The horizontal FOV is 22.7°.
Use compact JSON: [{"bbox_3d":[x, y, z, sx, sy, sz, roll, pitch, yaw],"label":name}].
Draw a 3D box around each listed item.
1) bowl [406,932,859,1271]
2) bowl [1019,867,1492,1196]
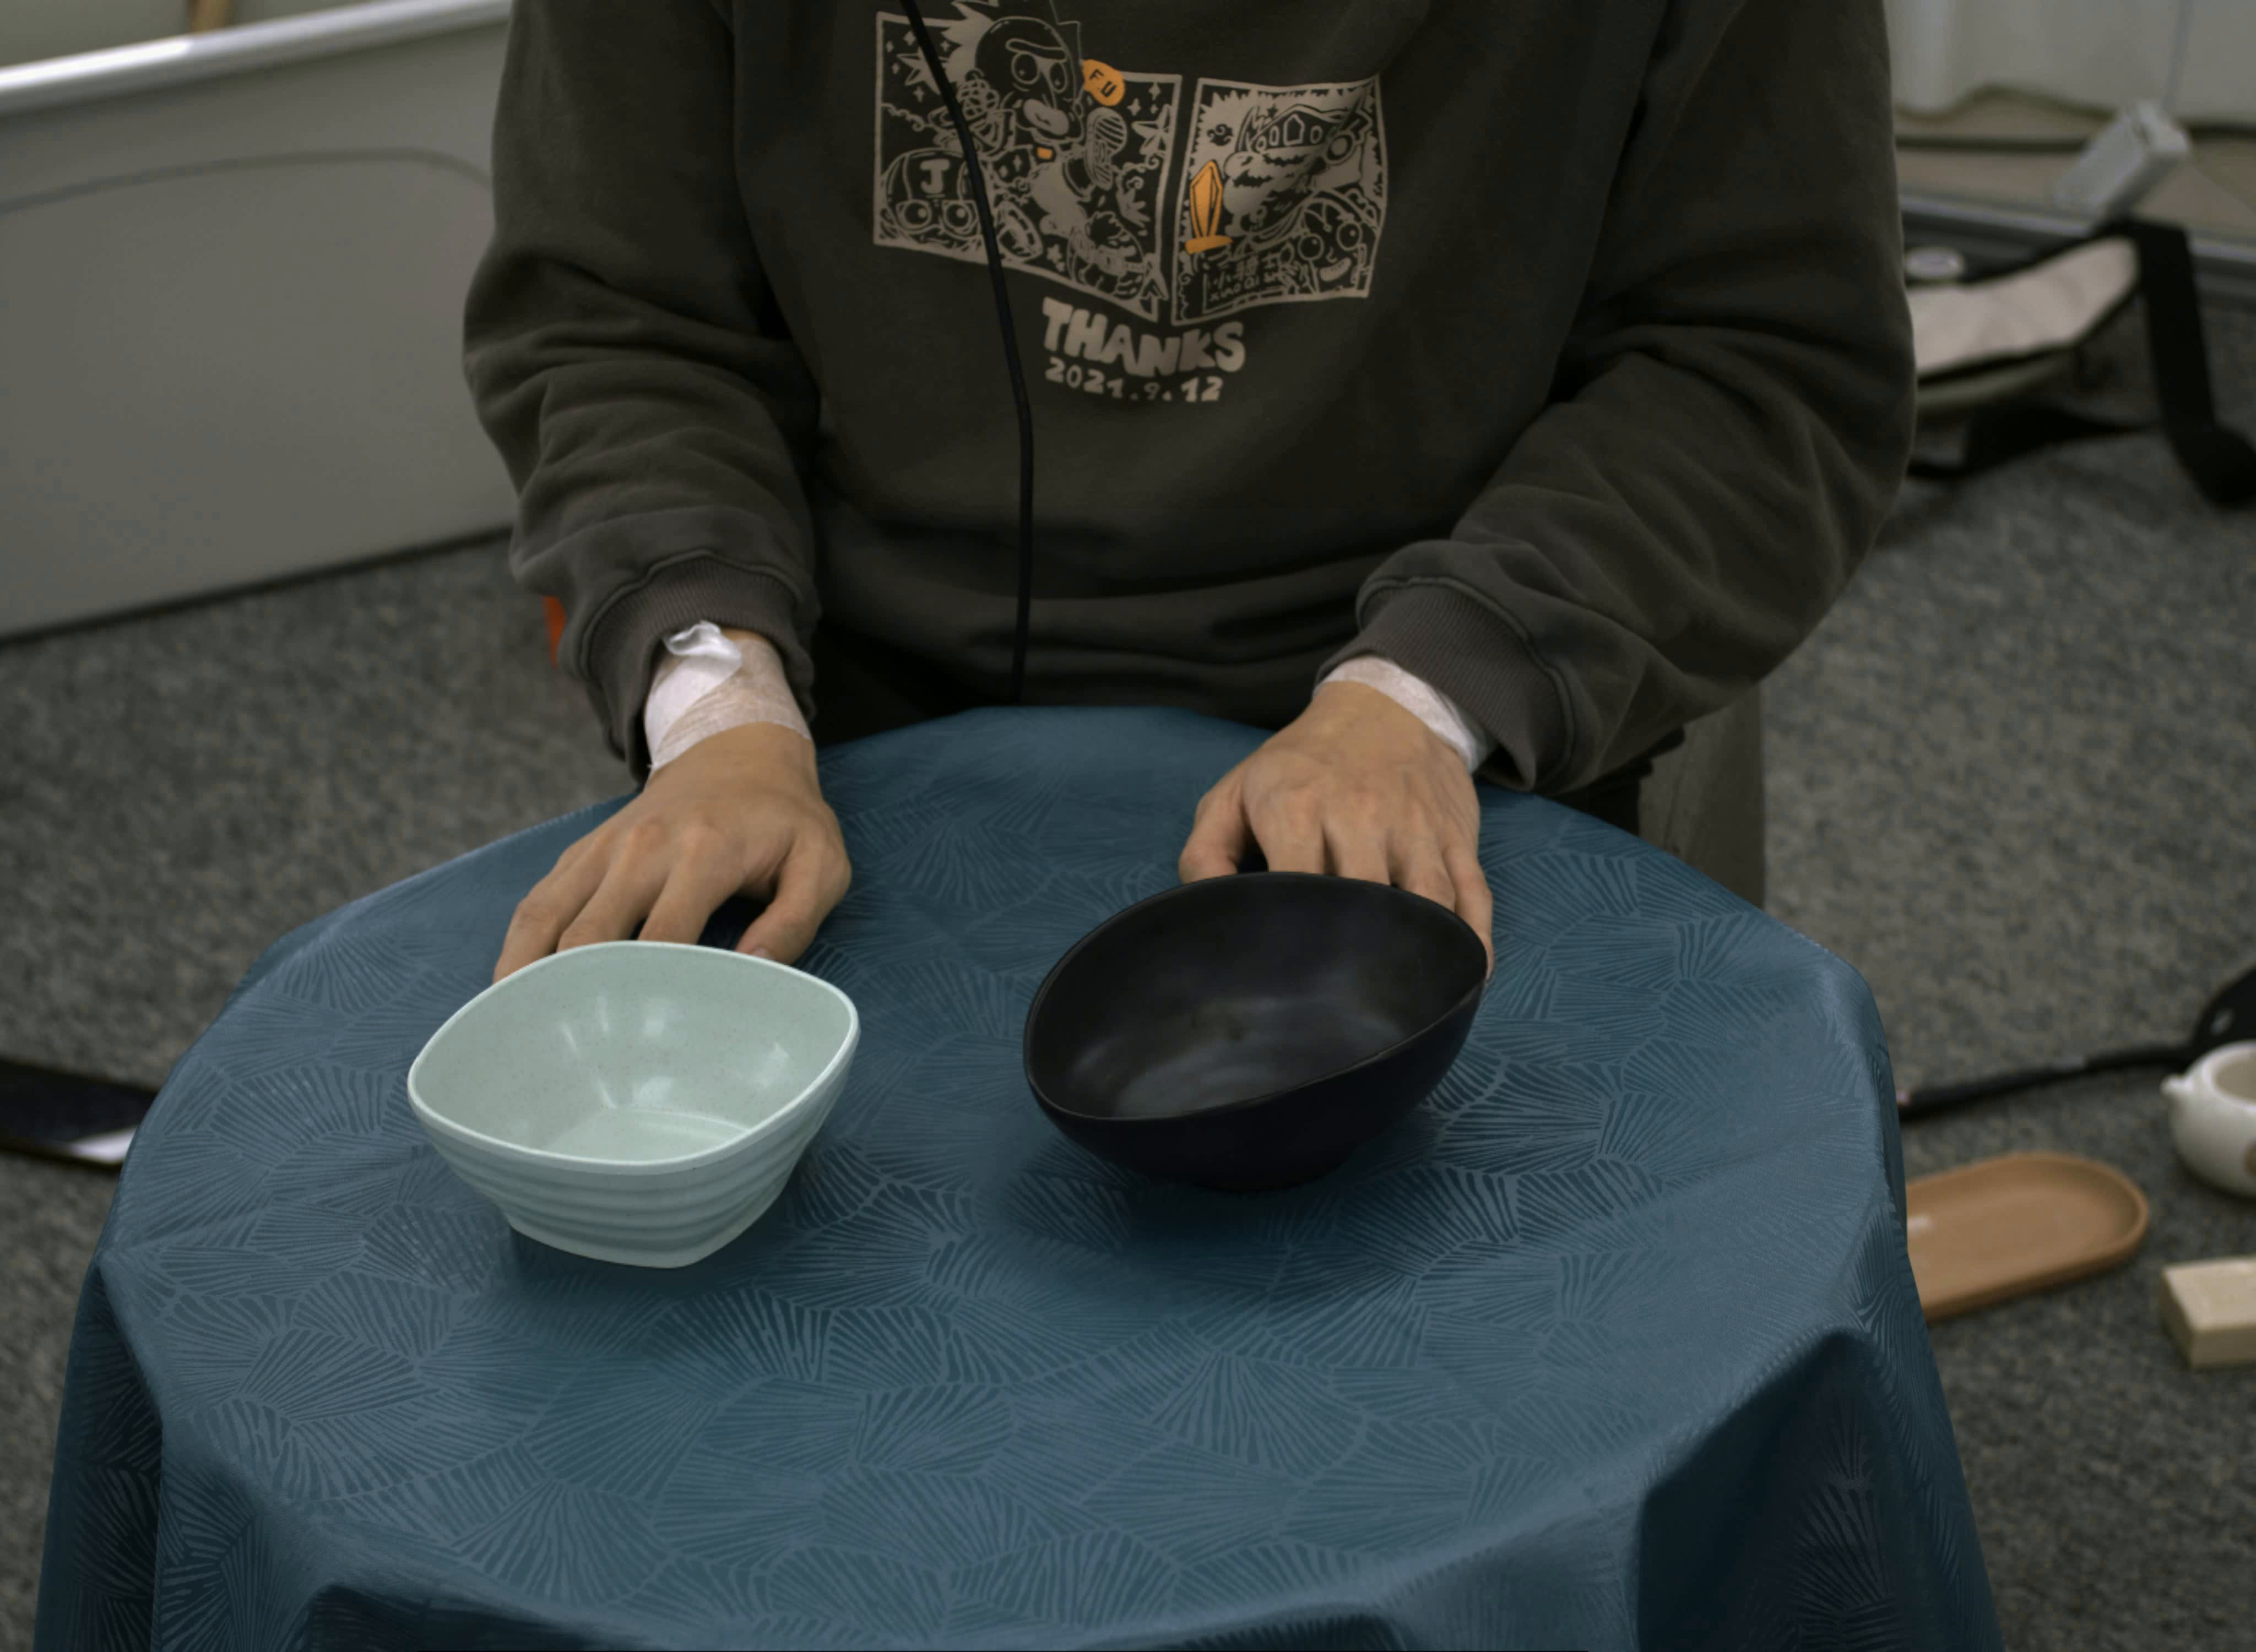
[{"bbox_3d":[-0.162,0.098,1.861,0.151,0.058,0.154,-1,29,1],"label":"bowl"},{"bbox_3d":[0.044,0.079,1.871,0.172,0.066,0.137,-25,35,-34],"label":"bowl"}]
